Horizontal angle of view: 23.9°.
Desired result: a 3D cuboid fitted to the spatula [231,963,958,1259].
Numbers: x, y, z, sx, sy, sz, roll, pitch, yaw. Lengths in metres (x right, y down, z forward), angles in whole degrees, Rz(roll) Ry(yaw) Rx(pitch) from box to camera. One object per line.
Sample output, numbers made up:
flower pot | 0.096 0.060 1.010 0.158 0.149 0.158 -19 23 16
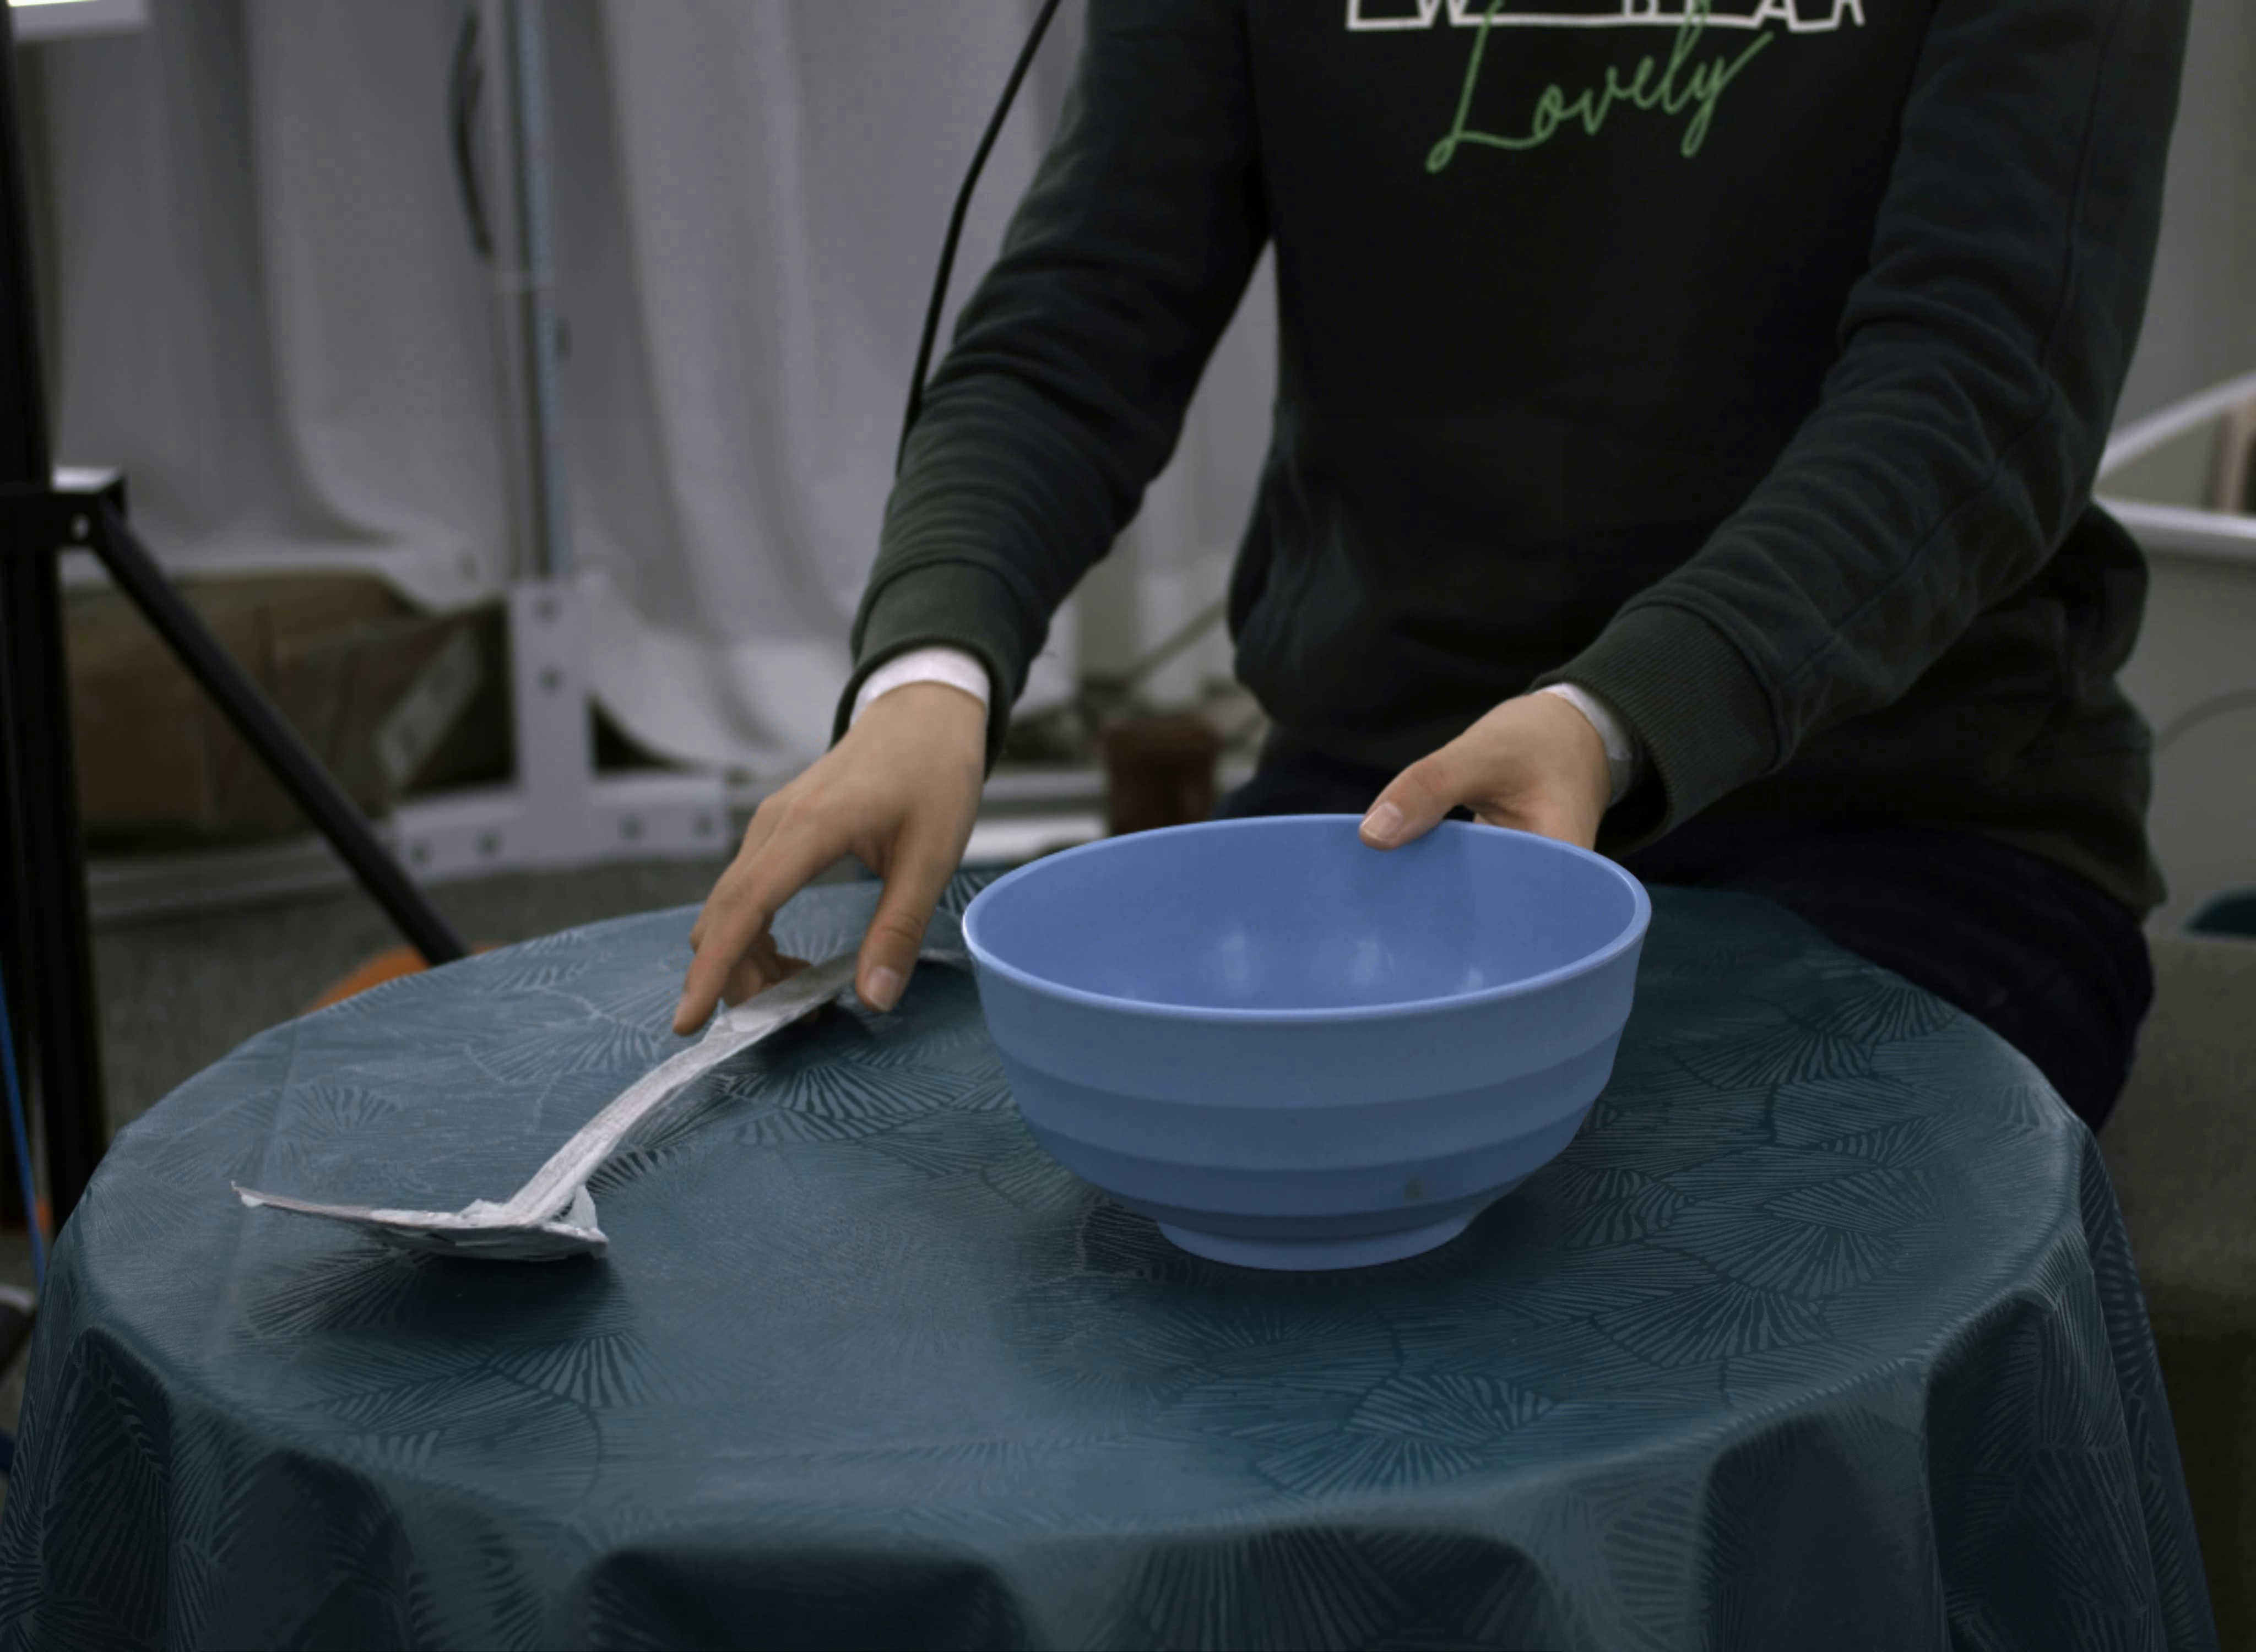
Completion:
spatula | -0.140 0.077 1.621 0.100 0.045 0.359 3 17 24

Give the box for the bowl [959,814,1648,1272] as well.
bowl | 0.052 0.067 1.518 0.195 0.095 0.197 -4 16 0
